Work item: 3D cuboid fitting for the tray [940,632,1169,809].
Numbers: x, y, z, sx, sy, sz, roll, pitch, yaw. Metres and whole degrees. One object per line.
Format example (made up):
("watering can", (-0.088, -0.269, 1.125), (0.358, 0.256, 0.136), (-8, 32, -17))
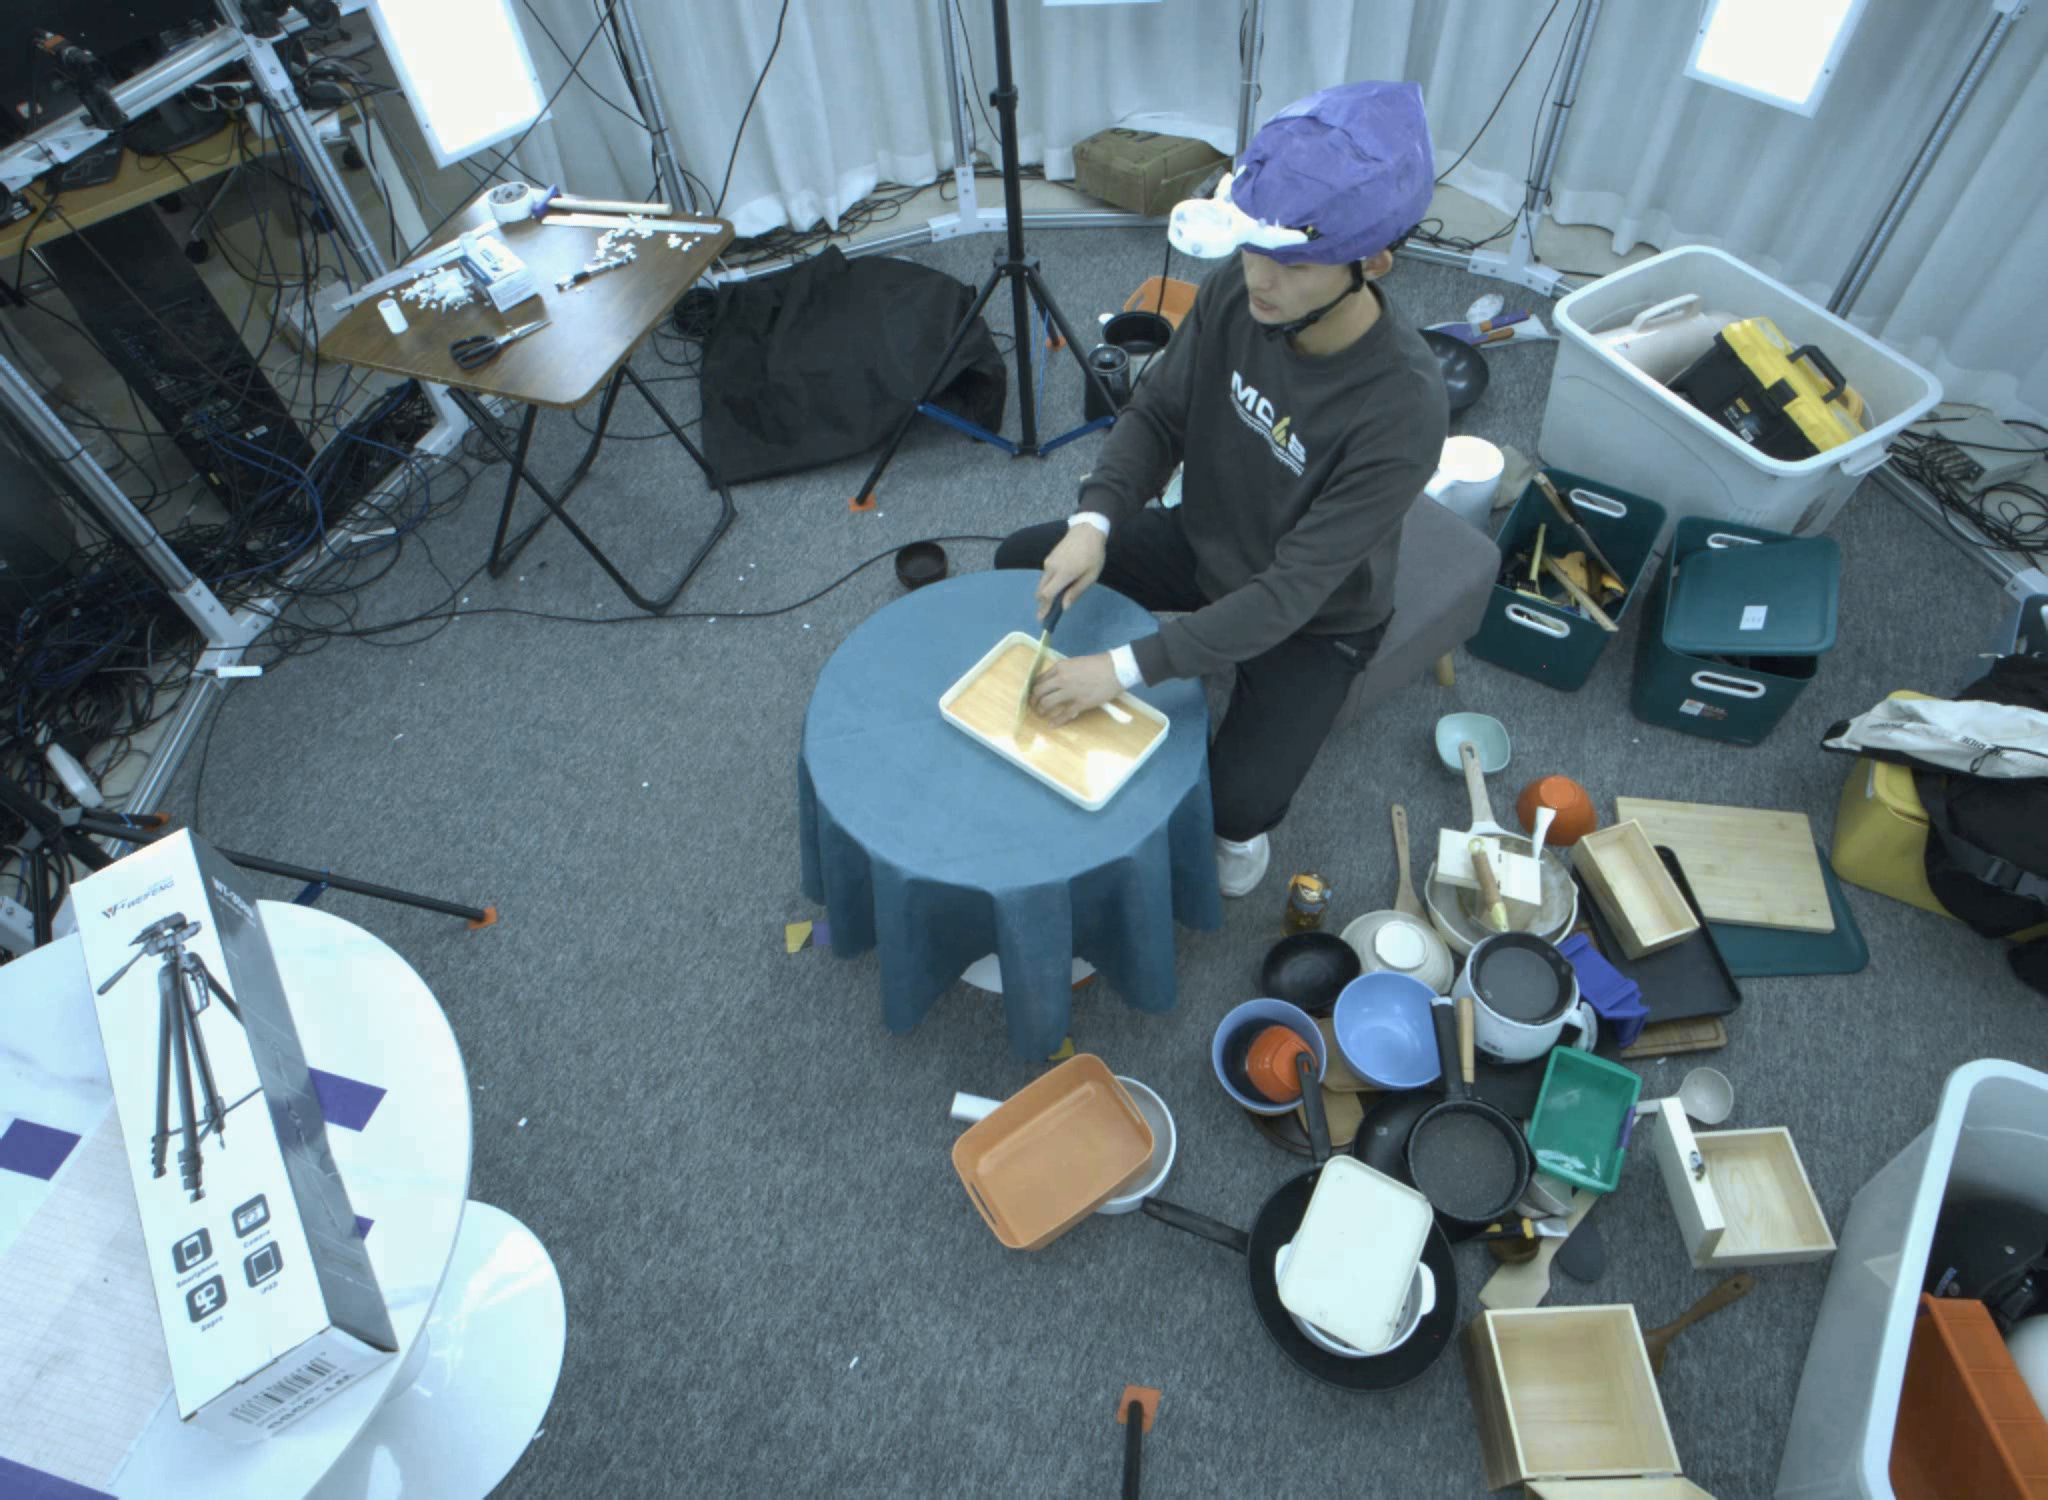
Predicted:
("tray", (0.043, -0.050, 1.813), (0.295, 0.027, 0.193), (33, 60, 22))

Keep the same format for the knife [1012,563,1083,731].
("knife", (0.032, -0.154, 1.831), (0.027, 0.081, 0.289), (18, 69, 9))
